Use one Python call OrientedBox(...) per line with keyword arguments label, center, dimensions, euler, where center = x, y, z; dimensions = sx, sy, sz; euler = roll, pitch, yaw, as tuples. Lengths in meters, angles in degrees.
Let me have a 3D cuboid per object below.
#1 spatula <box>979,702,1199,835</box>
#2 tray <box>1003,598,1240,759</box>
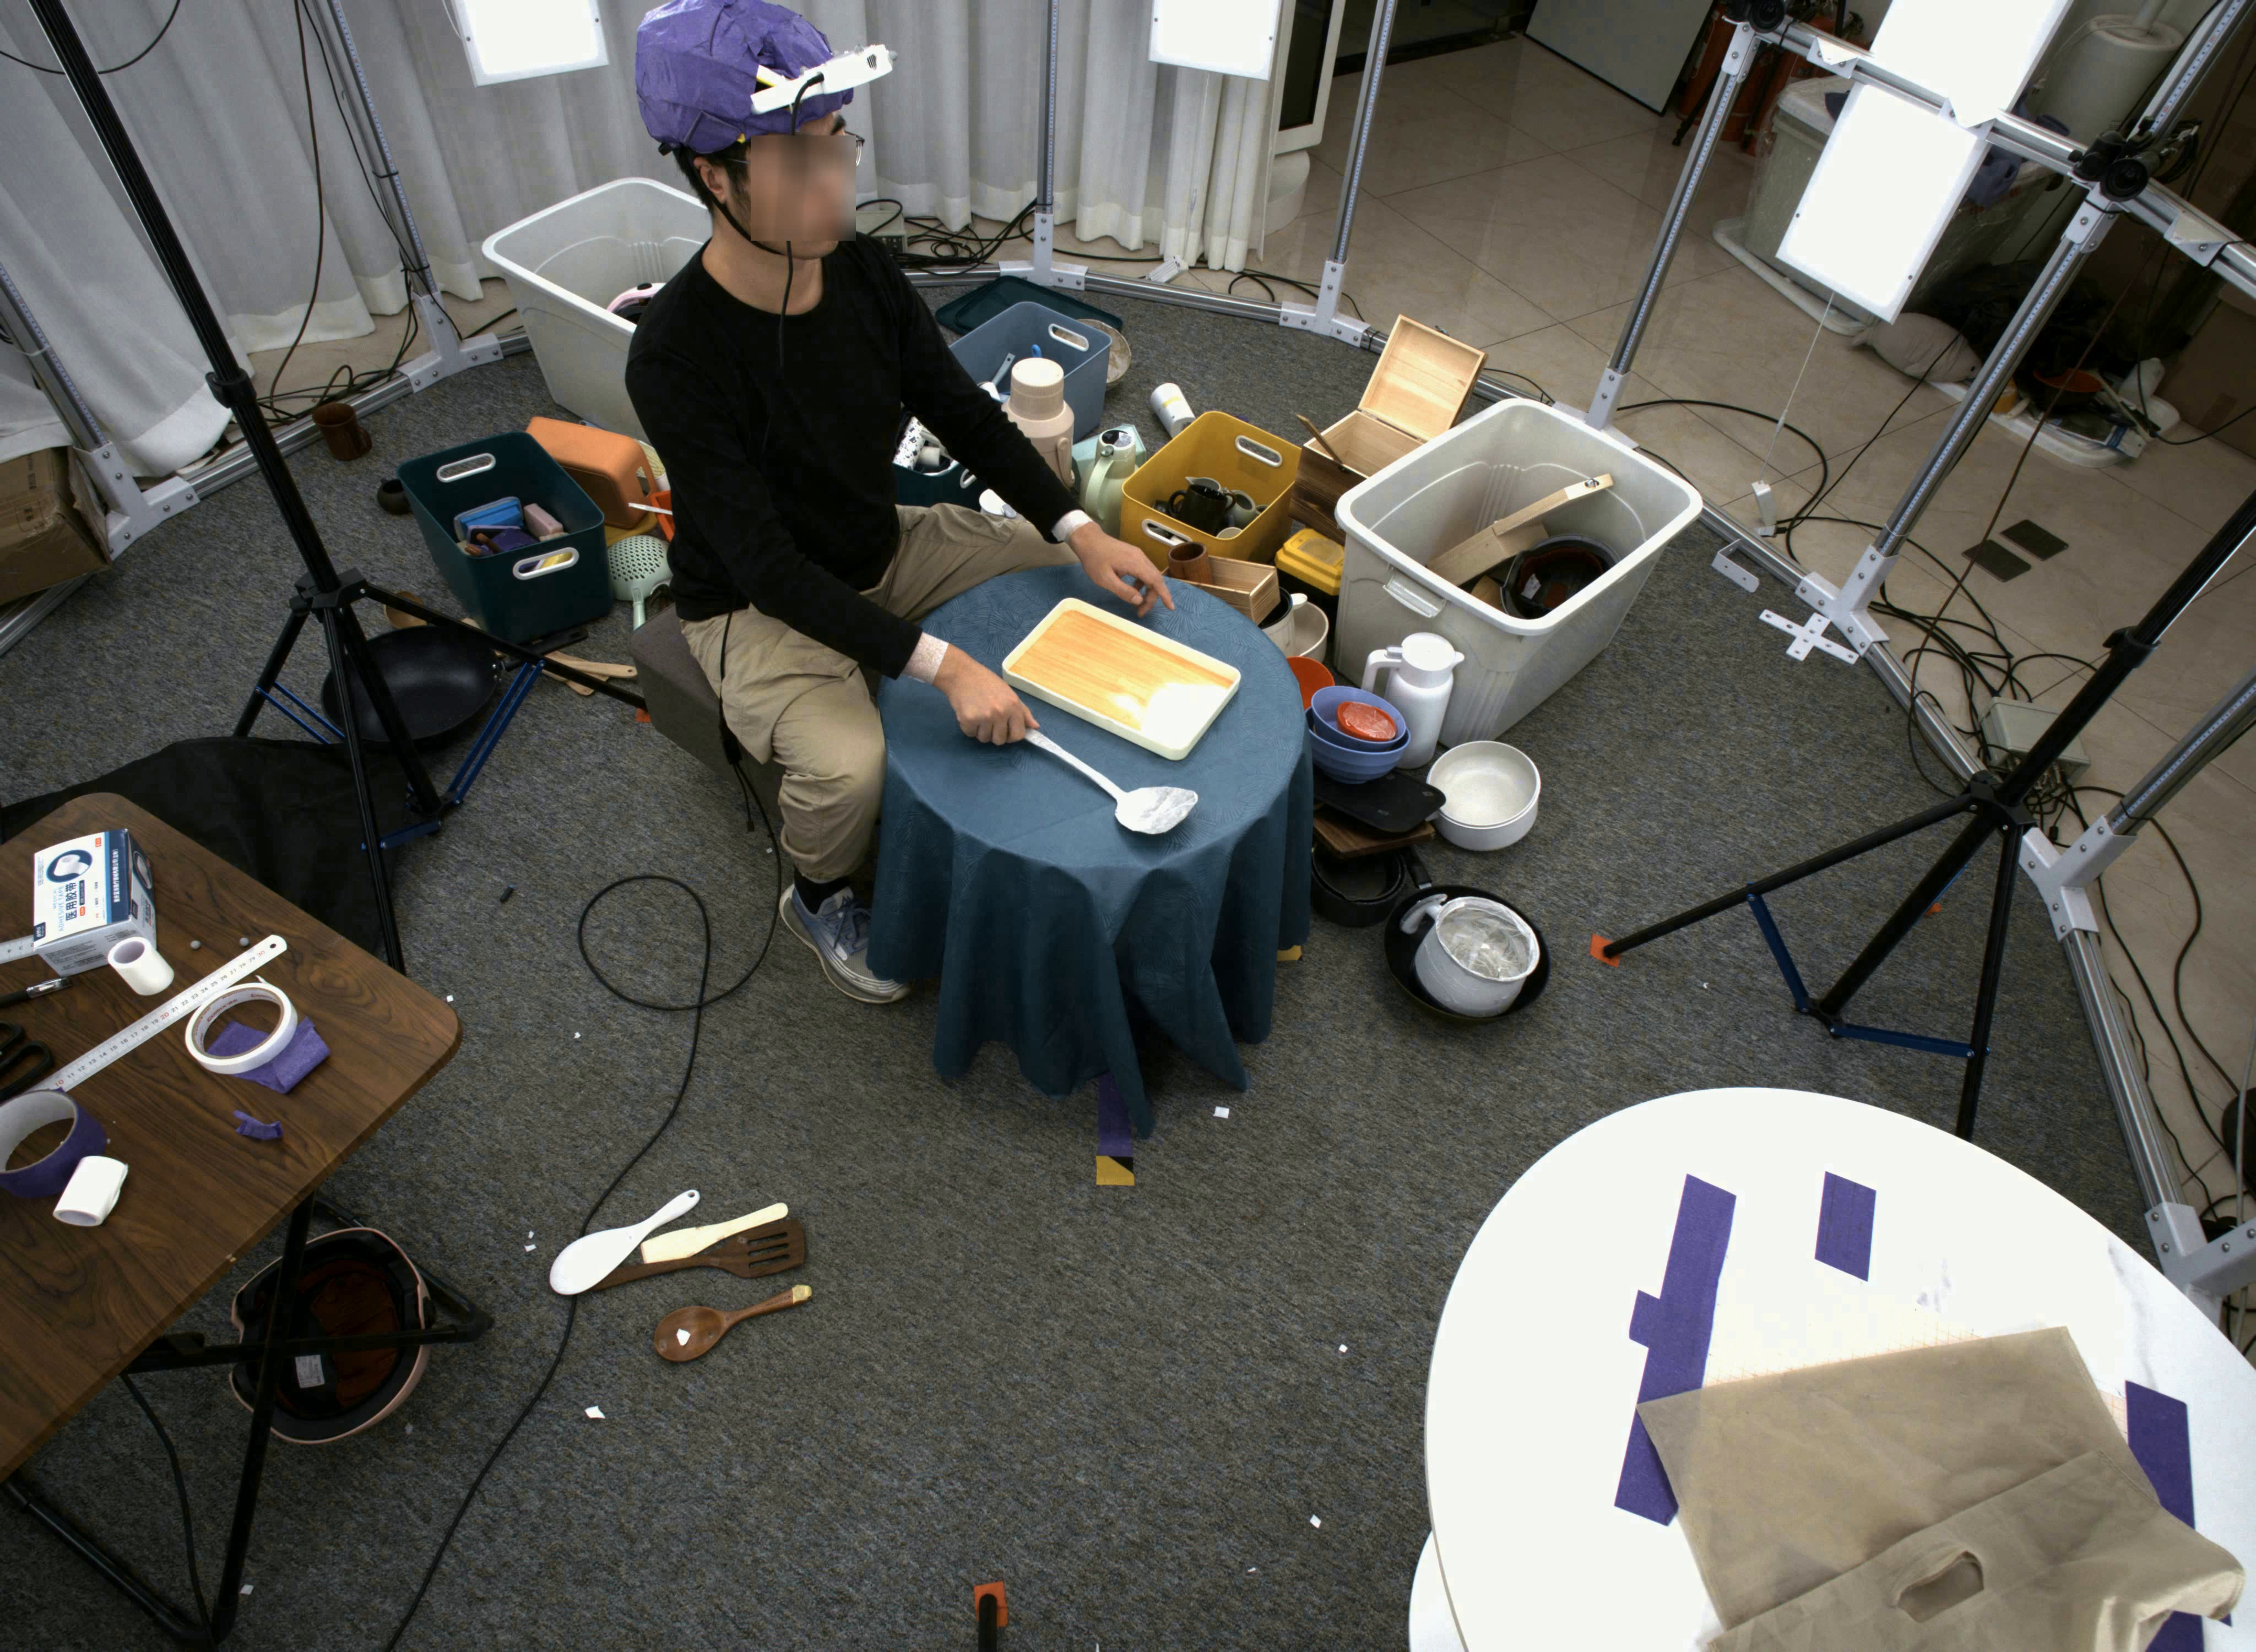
OrientedBox(label="spatula", center=(-0.070, -0.090, 1.718), dimensions=(0.369, 0.044, 0.100), euler=(33, 55, 22))
OrientedBox(label="tray", center=(-0.009, -0.216, 1.839), dimensions=(0.303, 0.027, 0.194), euler=(26, 53, 18))
